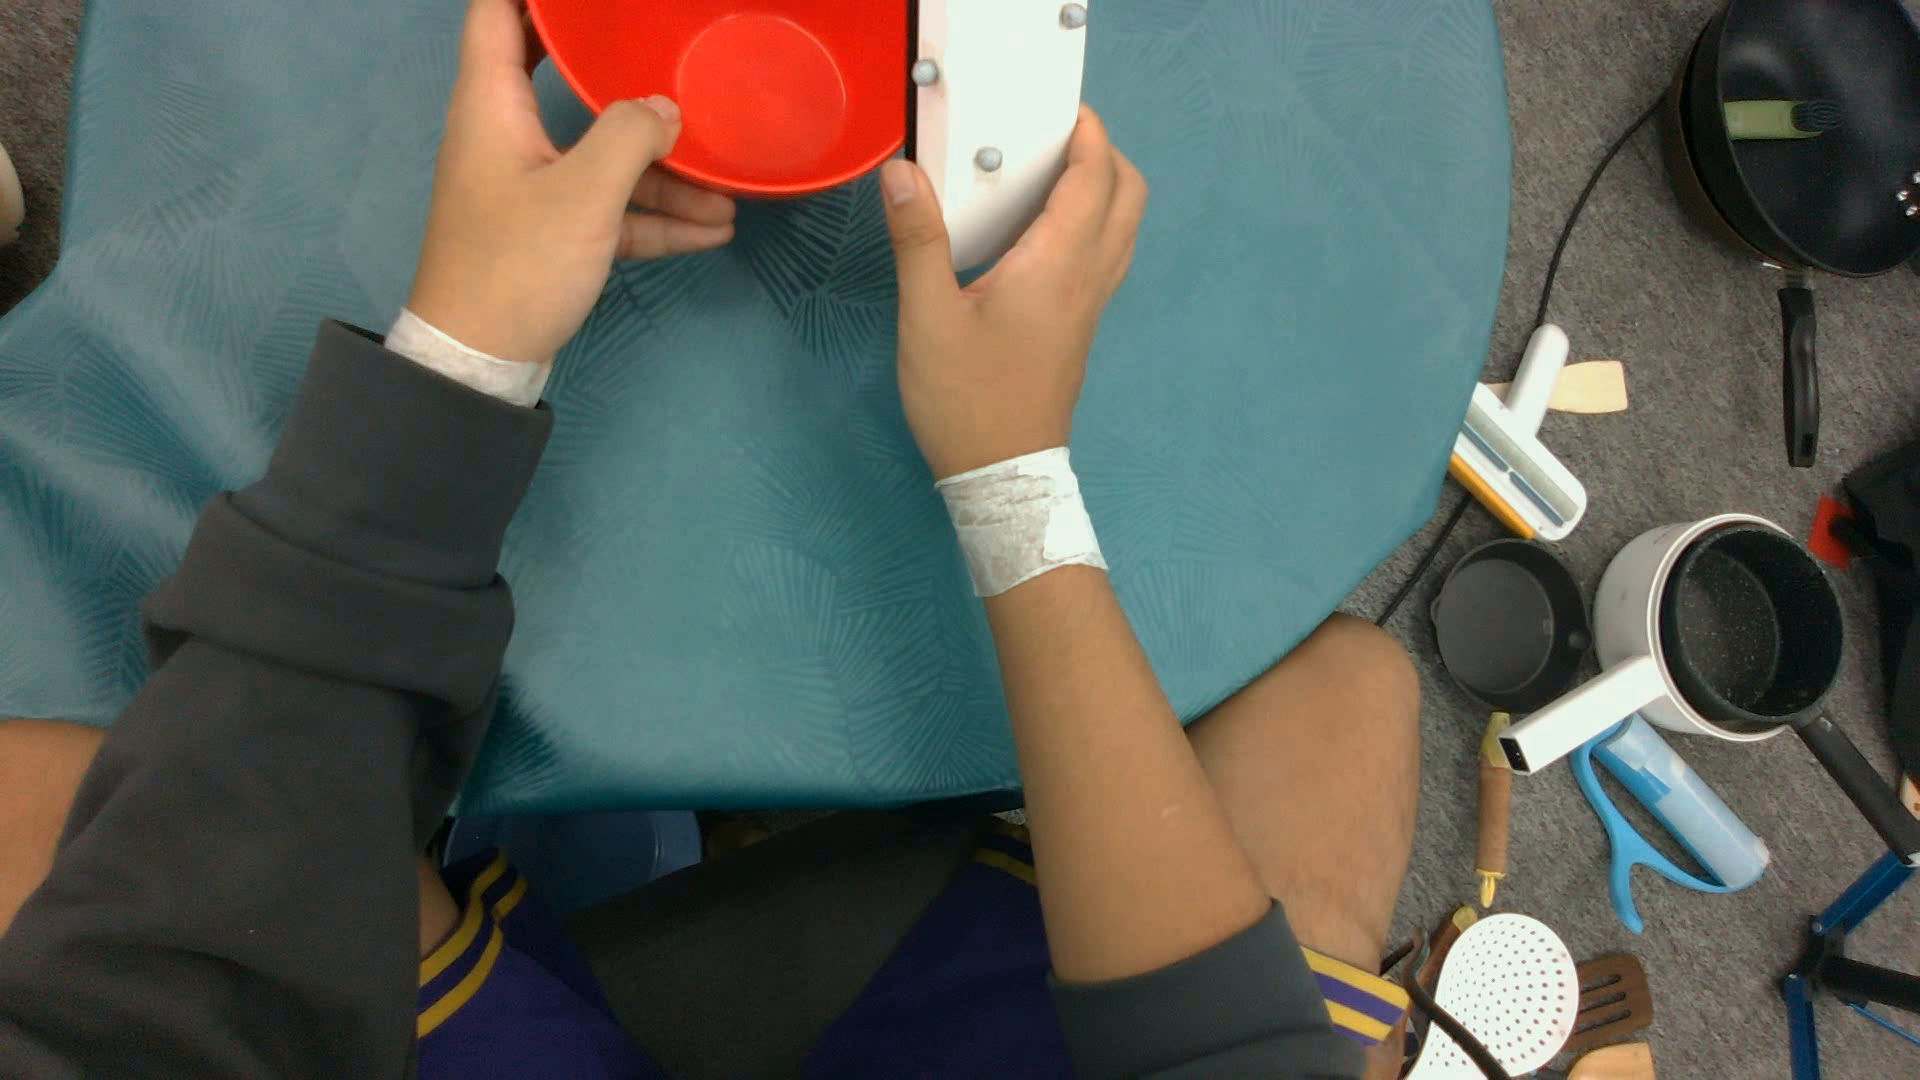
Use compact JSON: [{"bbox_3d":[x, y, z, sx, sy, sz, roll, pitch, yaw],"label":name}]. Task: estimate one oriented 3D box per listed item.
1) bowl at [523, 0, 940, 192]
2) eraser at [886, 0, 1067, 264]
[{"bbox_3d":[-0.085,-0.192,0.512,0.148,0.104,0.148,2,83,-14],"label":"bowl"},{"bbox_3d":[0.004,-0.163,0.482,0.063,0.034,0.130,-25,134,-33],"label":"eraser"}]
